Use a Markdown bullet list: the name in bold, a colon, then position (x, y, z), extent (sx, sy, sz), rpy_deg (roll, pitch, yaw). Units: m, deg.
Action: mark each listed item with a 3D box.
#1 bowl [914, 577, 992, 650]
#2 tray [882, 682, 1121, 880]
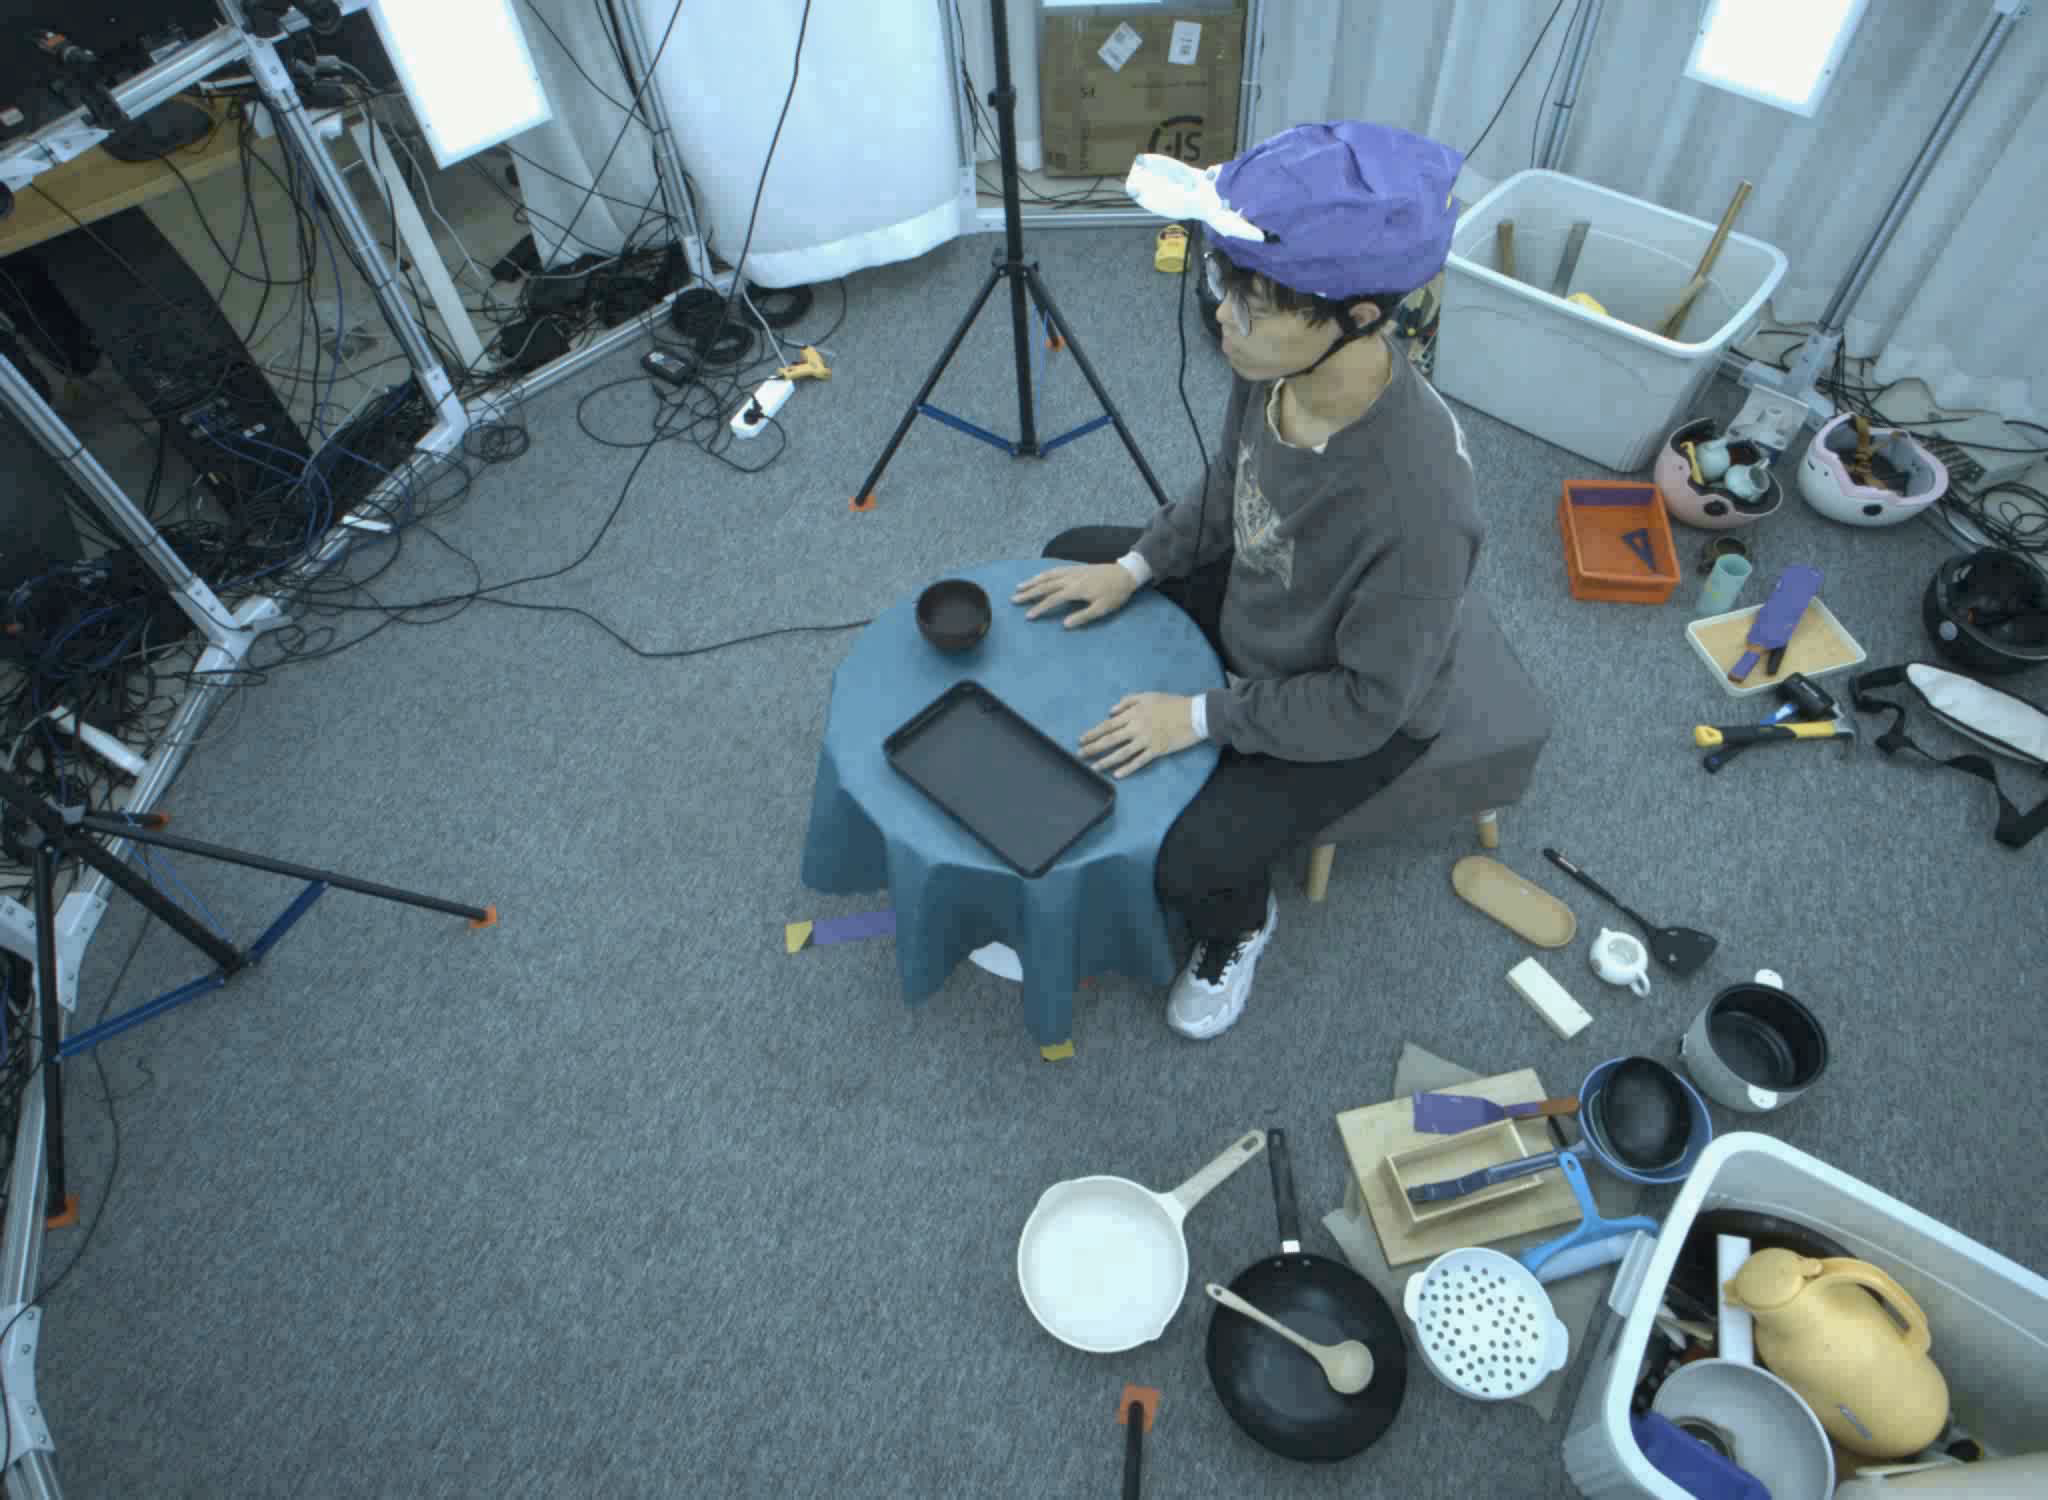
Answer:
- **bowl**: position (-0.108, -0.202, 1.890), extent (0.118, 0.070, 0.117), rpy_deg (0, 53, 1)
- **tray**: position (-0.034, 0.038, 1.737), extent (0.312, 0.037, 0.185), rpy_deg (36, 62, 25)
